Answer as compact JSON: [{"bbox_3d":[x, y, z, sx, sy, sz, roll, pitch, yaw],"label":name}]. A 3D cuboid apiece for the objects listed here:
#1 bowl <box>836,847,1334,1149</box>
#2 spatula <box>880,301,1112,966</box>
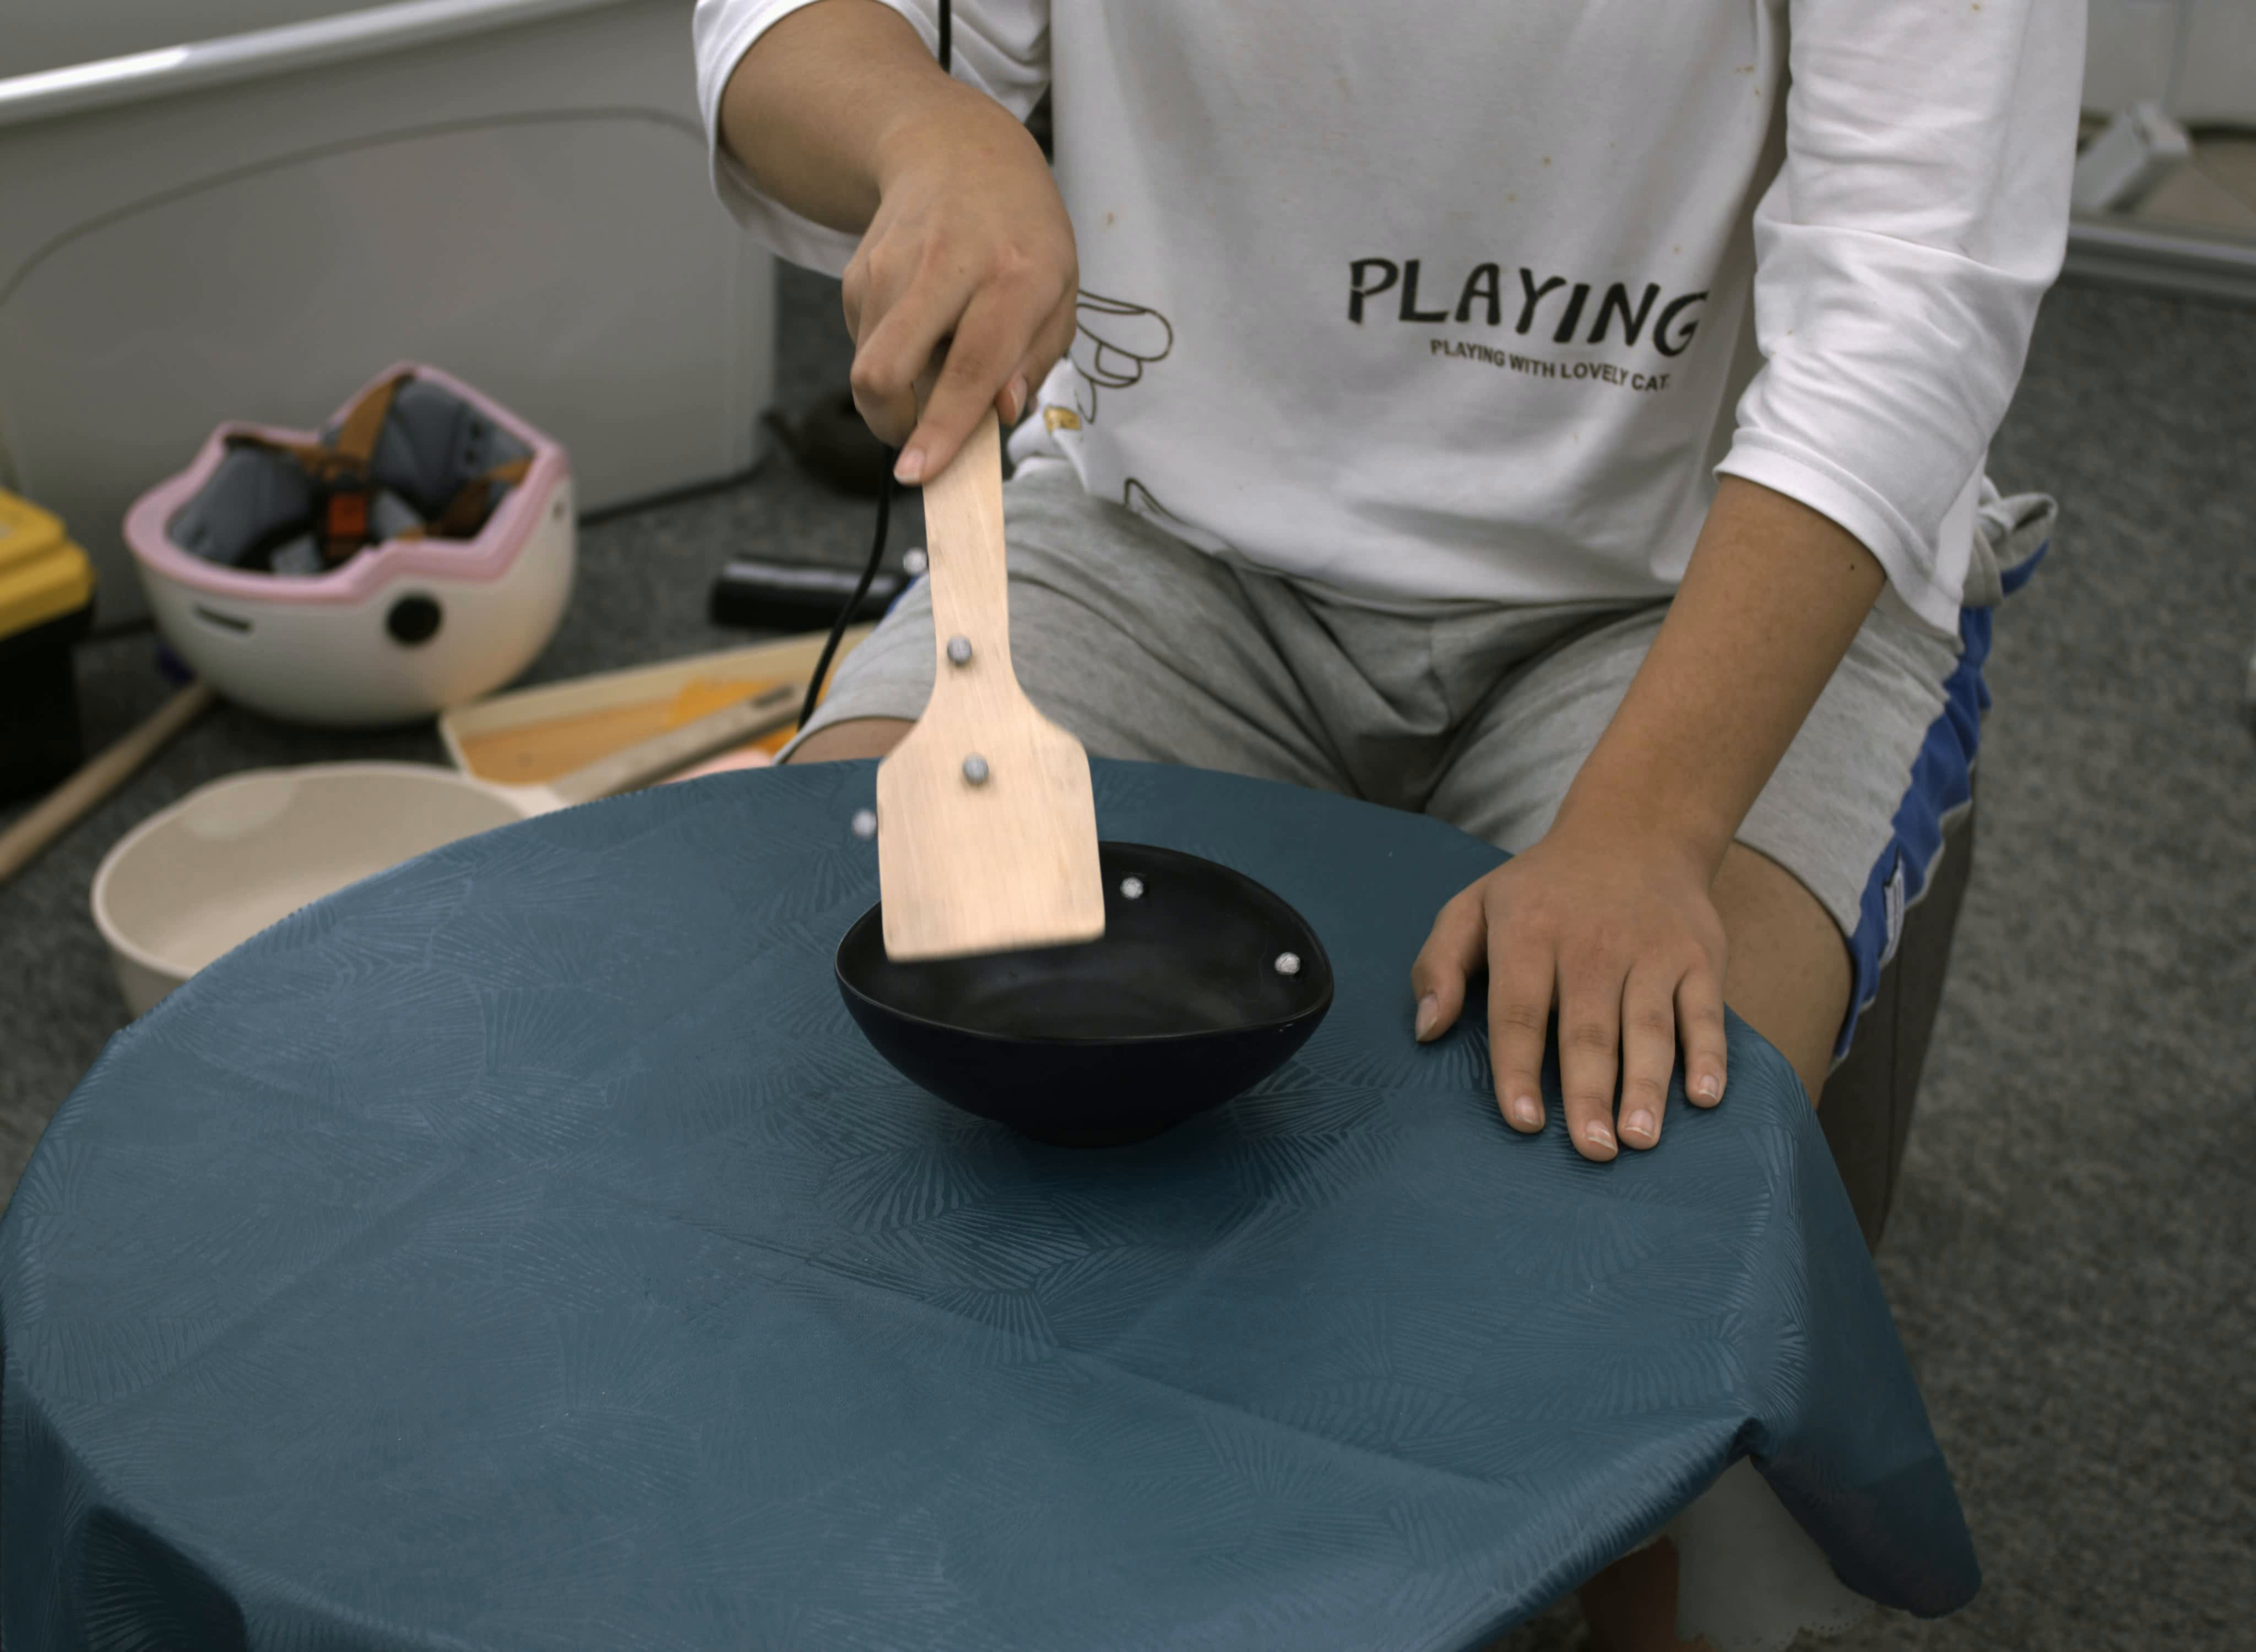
[{"bbox_3d":[-0.014,0.065,1.907,0.169,0.066,0.139,3,27,6],"label":"bowl"},{"bbox_3d":[-0.050,-0.068,1.845,0.072,0.010,0.299,-6,48,1],"label":"spatula"}]
